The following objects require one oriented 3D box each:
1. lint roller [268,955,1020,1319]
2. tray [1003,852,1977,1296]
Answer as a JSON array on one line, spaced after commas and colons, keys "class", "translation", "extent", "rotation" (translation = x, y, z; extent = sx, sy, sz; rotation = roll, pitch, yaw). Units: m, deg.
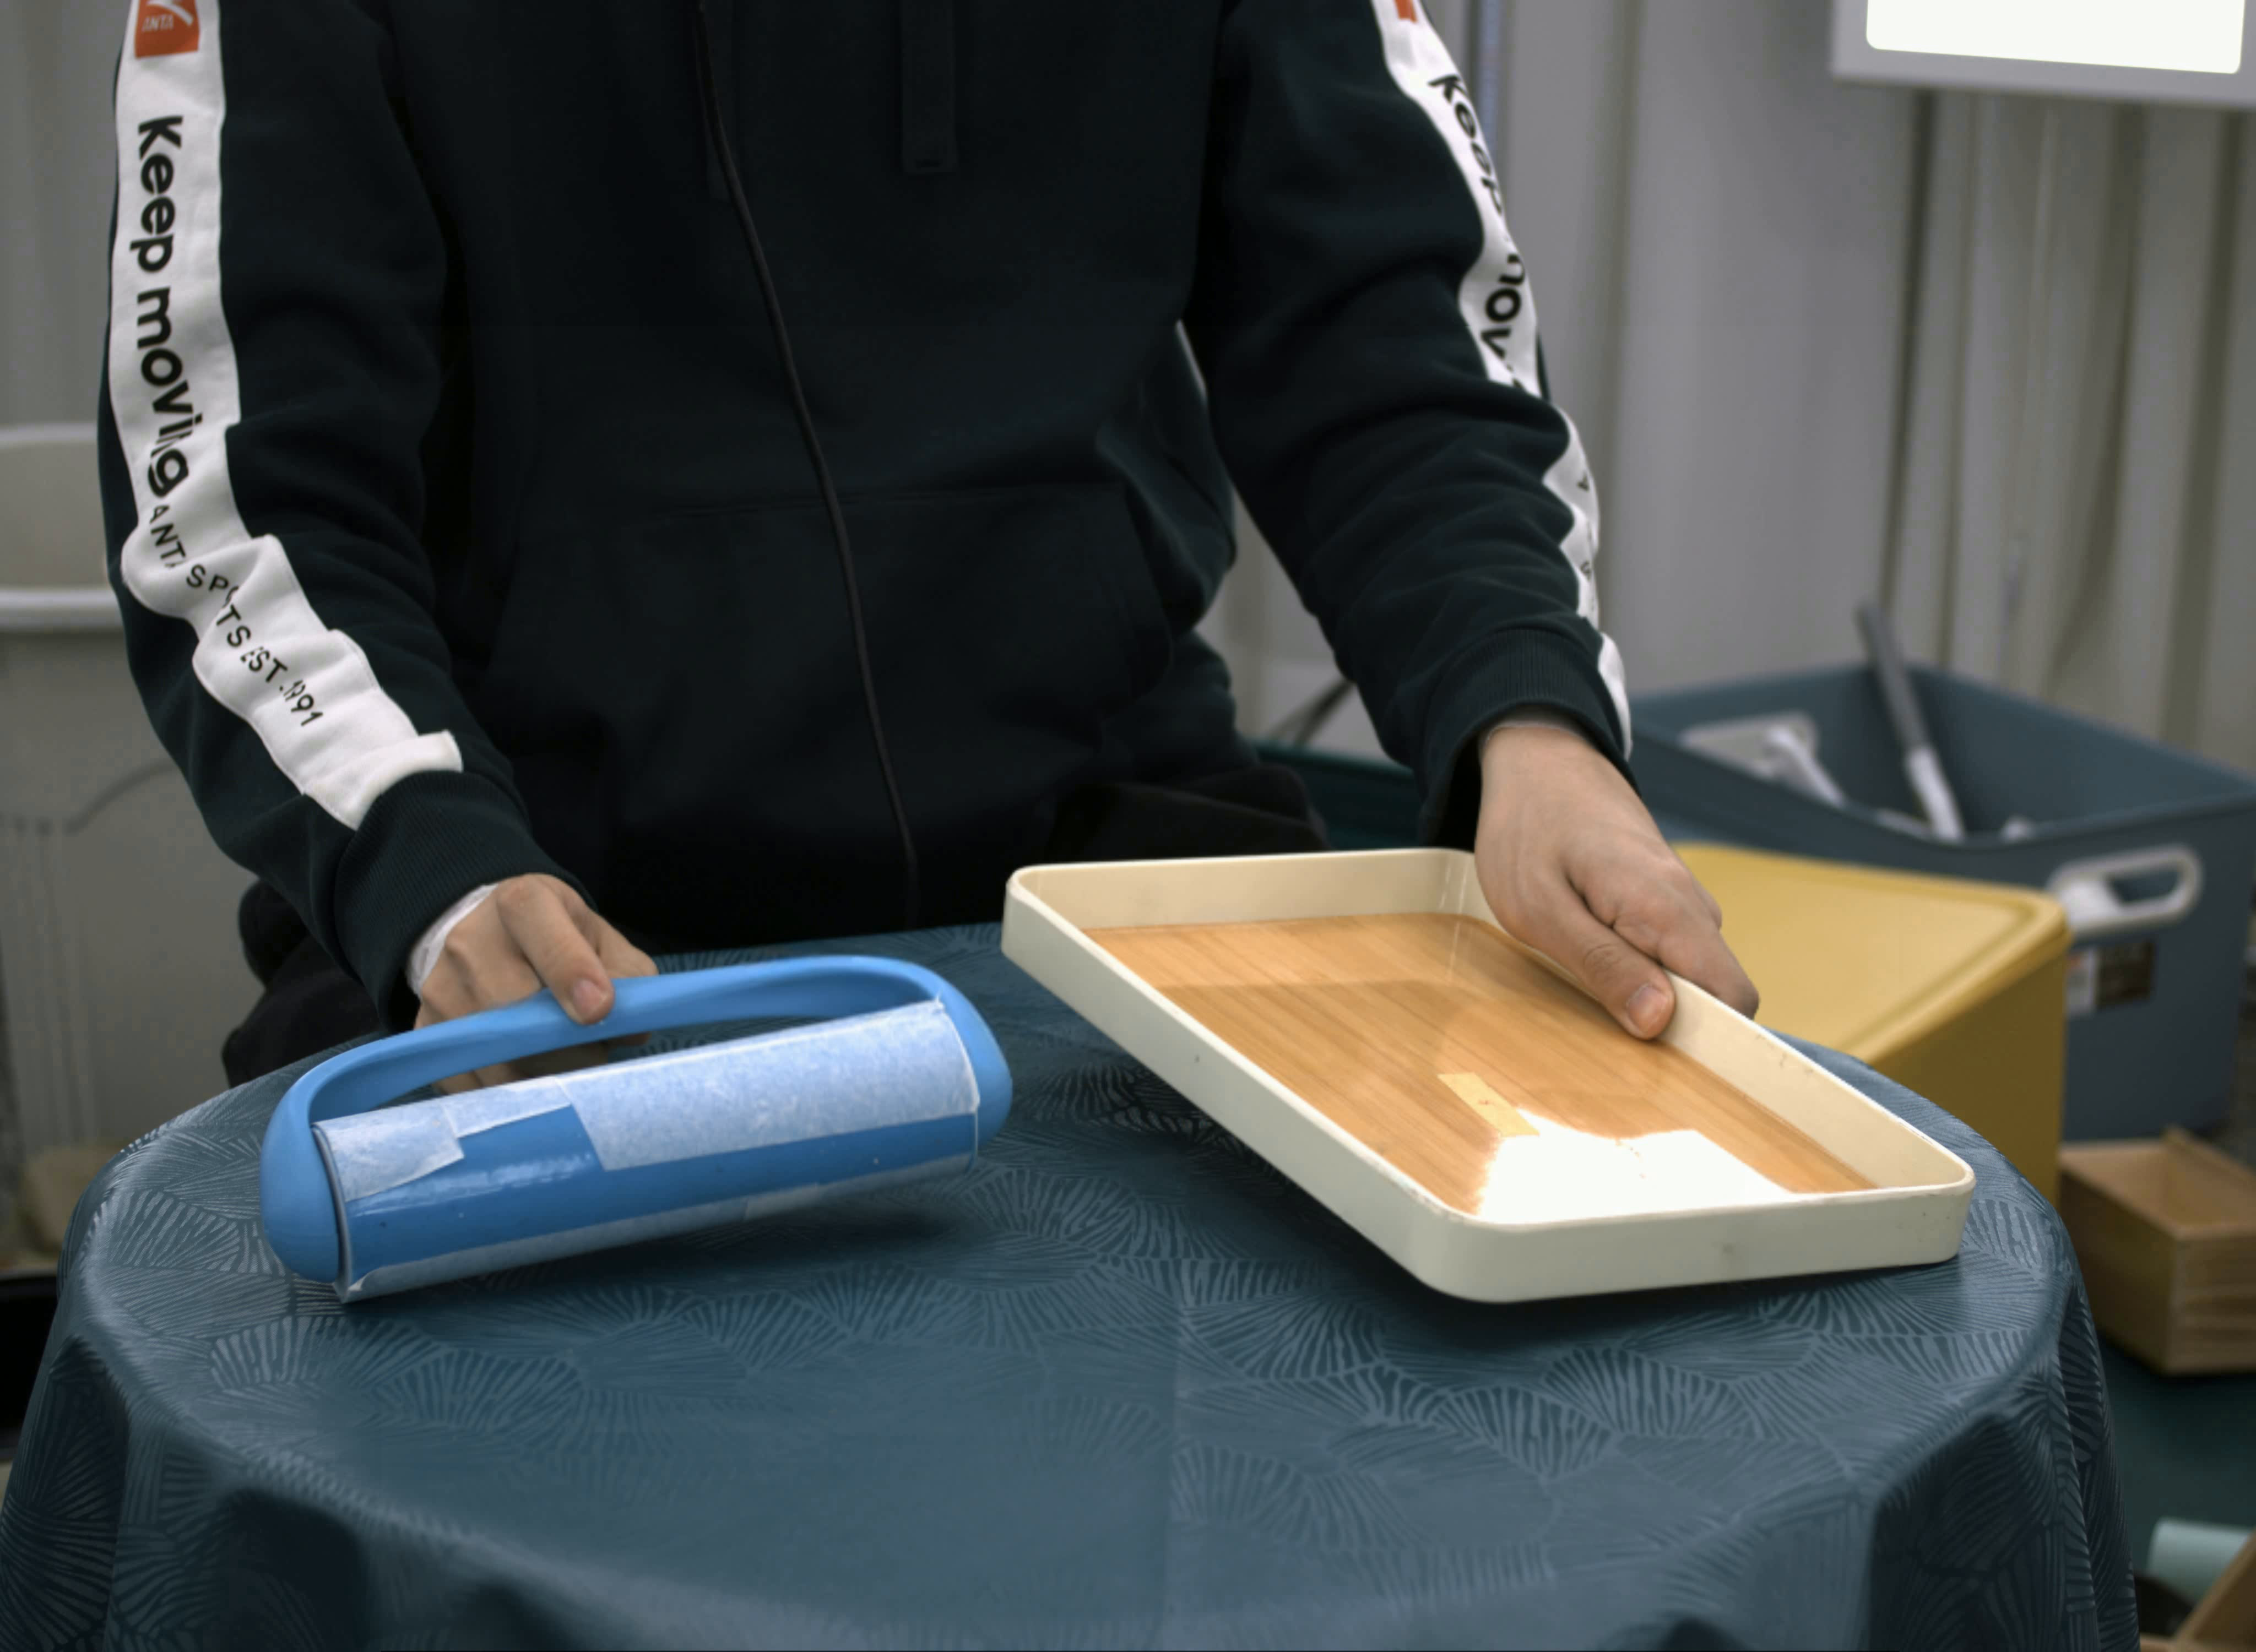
[{"class": "lint roller", "translation": [-0.164, 0.081, 1.596], "extent": [0.229, 0.068, 0.178], "rotation": [-15, 20, -22]}, {"class": "tray", "translation": [0.106, 0.072, 1.638], "extent": [0.192, 0.027, 0.296], "rotation": [-2, 20, -30]}]
